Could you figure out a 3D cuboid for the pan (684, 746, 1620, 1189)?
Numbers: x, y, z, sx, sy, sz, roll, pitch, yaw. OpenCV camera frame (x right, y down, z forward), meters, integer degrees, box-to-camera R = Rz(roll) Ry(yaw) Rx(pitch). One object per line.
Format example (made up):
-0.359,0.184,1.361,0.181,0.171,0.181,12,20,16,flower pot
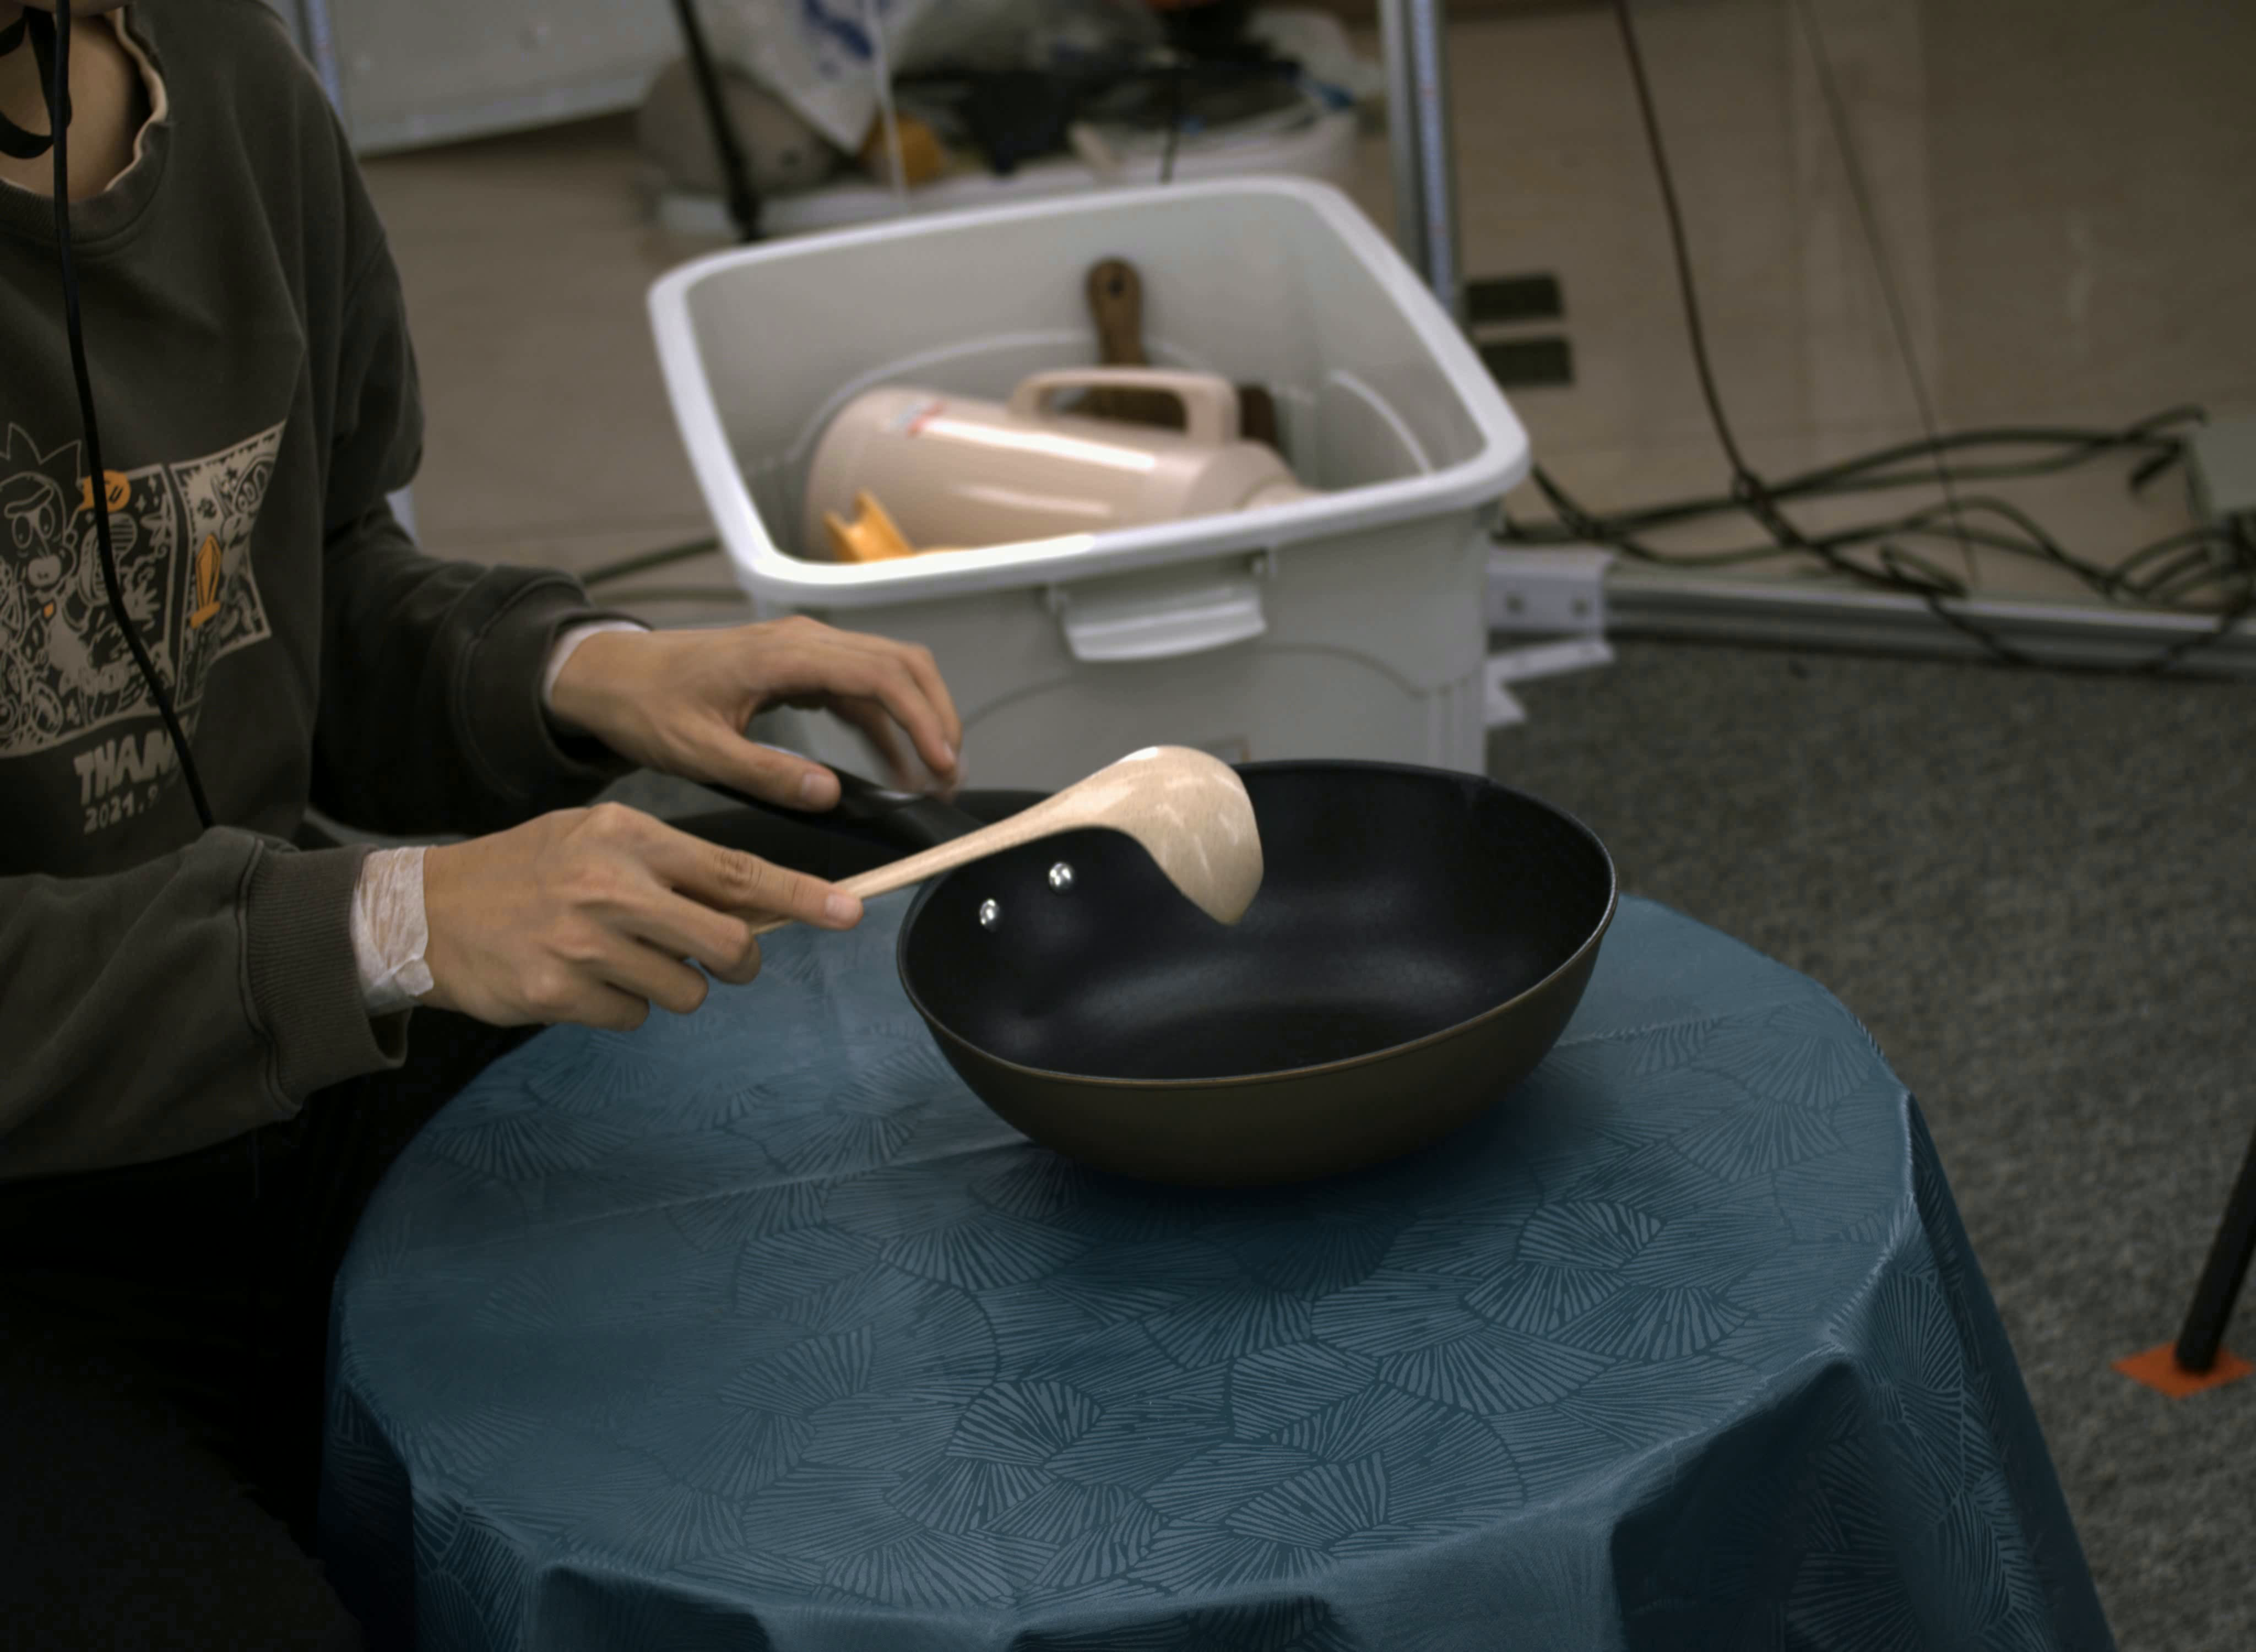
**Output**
-0.014,0.049,2.245,0.460,0.088,0.285,15,33,41,pan

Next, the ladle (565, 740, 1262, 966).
-0.076,0.033,2.083,0.254,0.074,0.071,-17,44,0,ladle
